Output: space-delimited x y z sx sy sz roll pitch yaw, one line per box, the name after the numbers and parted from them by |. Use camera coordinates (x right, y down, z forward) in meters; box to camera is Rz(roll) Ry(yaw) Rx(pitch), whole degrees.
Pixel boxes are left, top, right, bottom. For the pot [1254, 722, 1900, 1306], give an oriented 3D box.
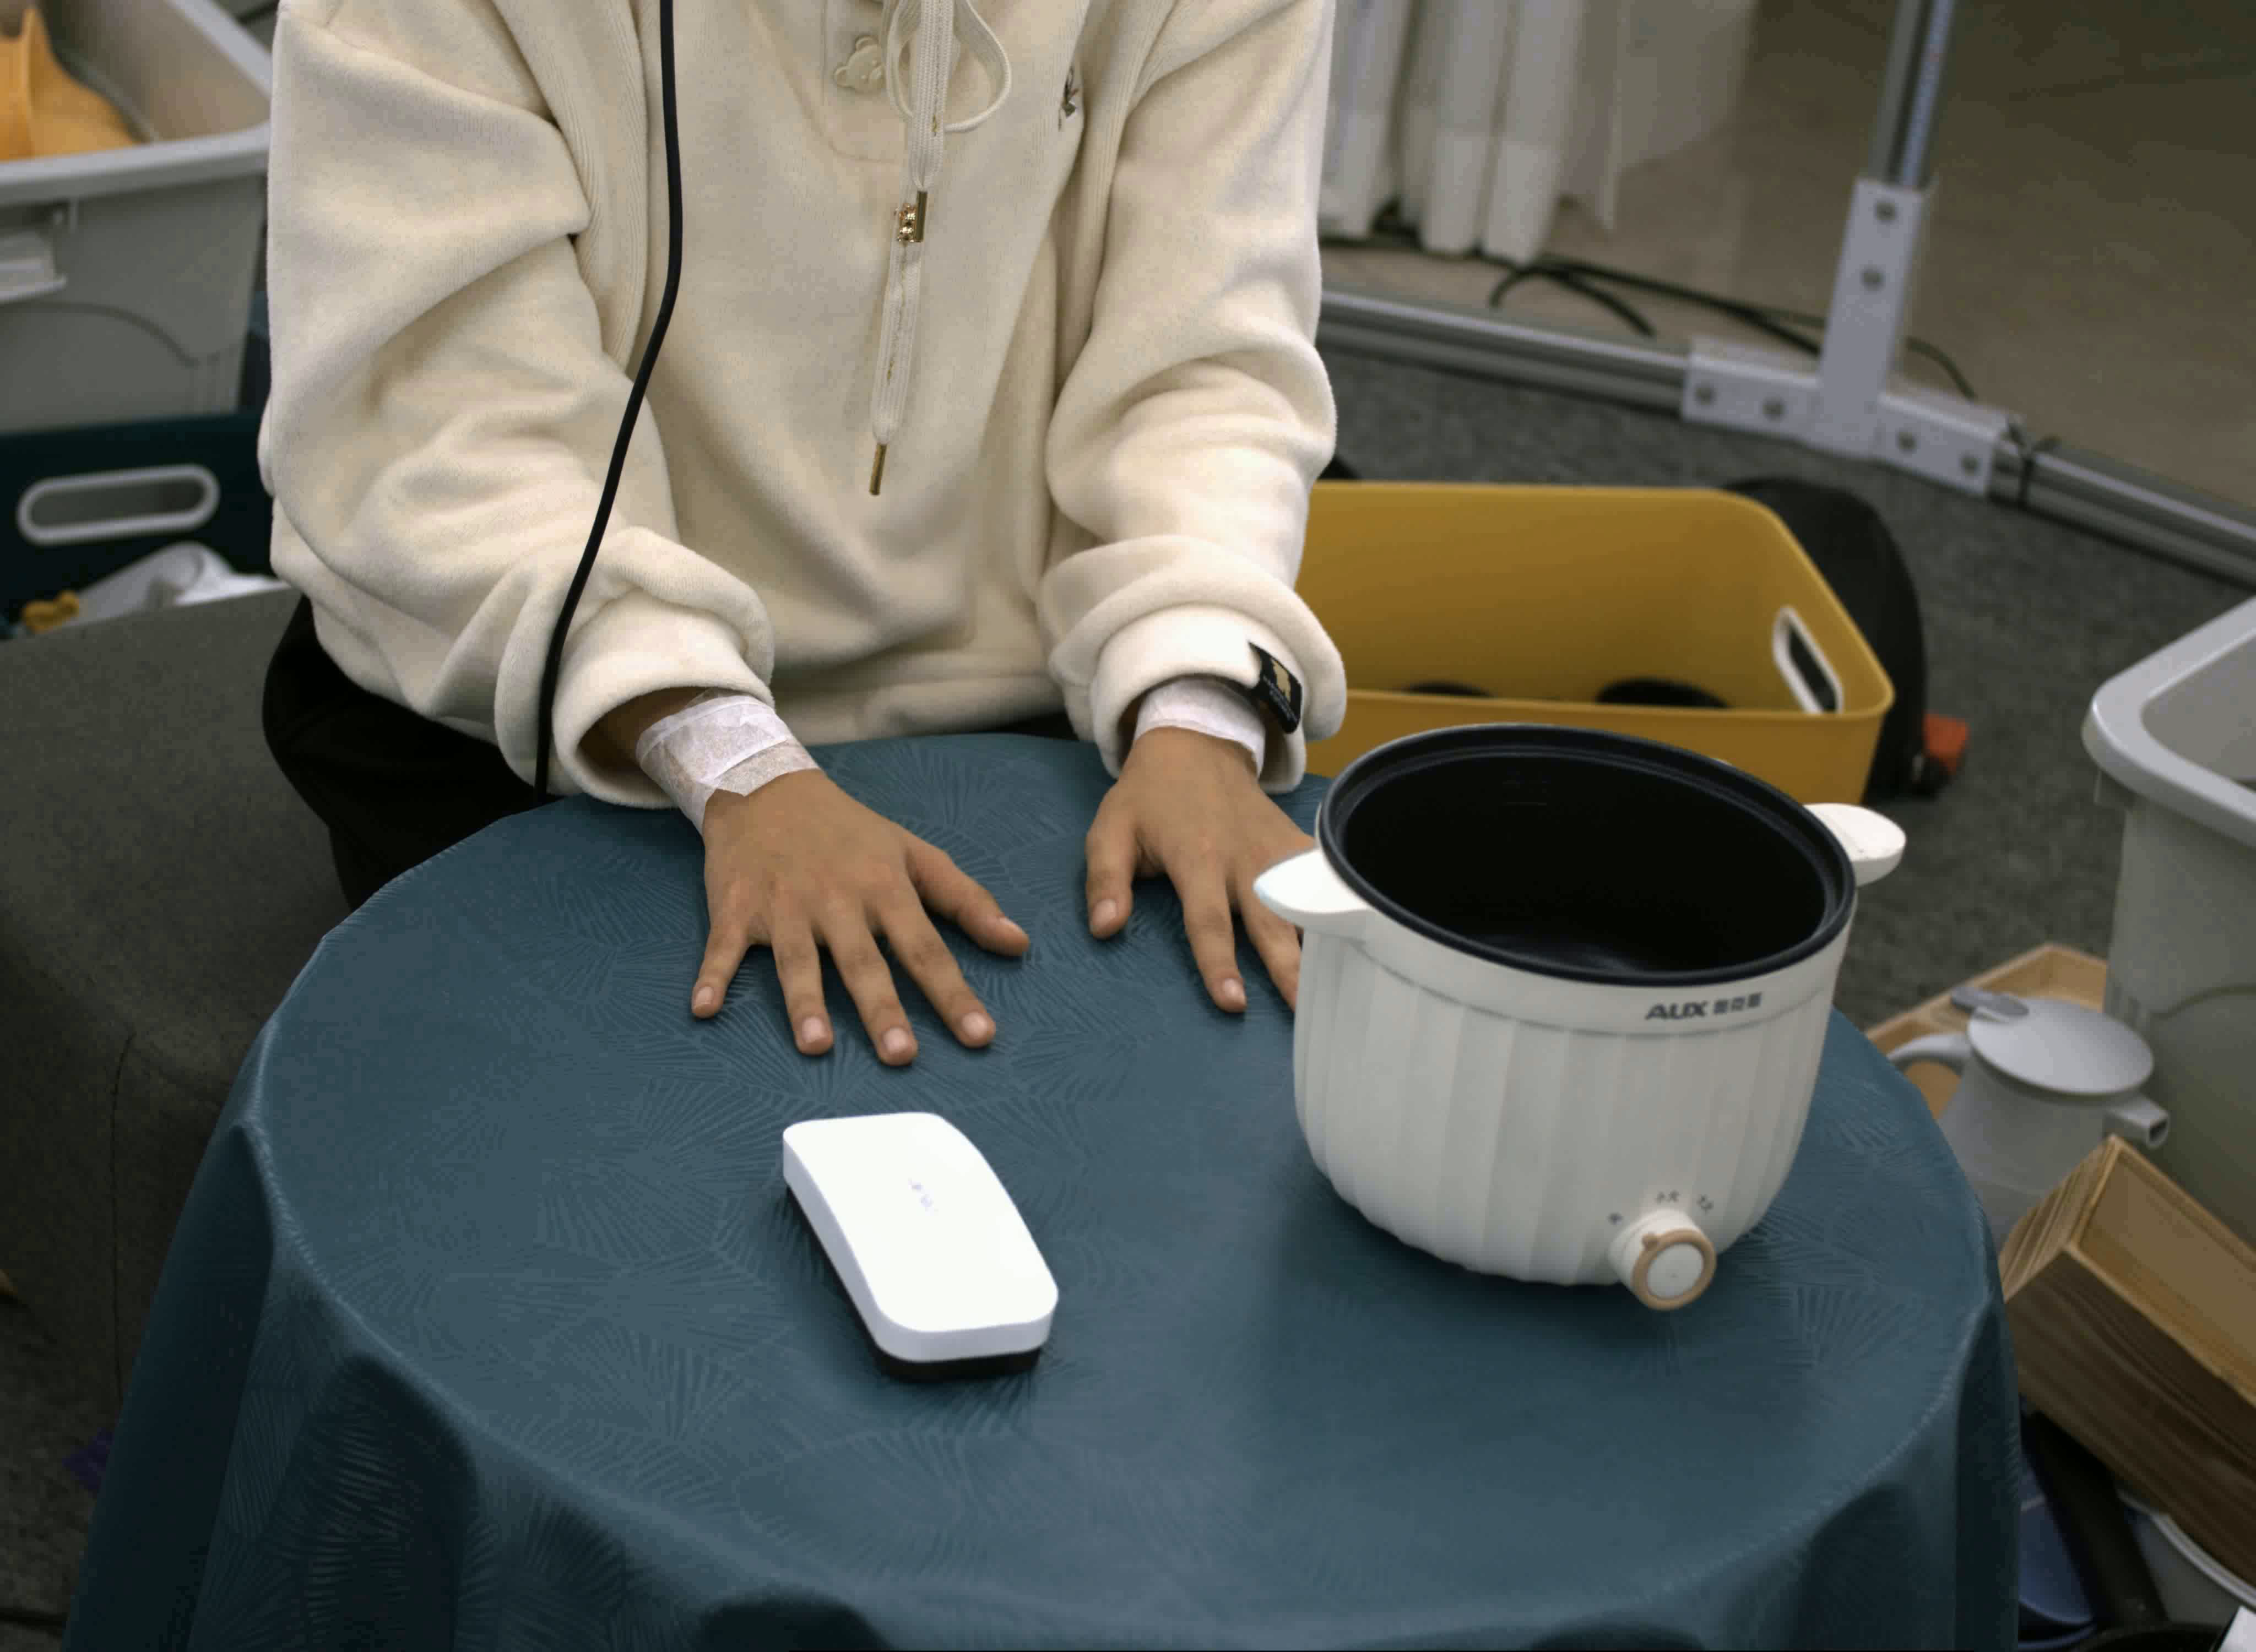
0.149 0.066 1.794 0.239 0.142 0.192 -6 26 -22 | pot

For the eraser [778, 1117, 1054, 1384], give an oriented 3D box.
-0.070 0.134 1.733 0.063 0.034 0.132 -1 28 -21 | eraser
